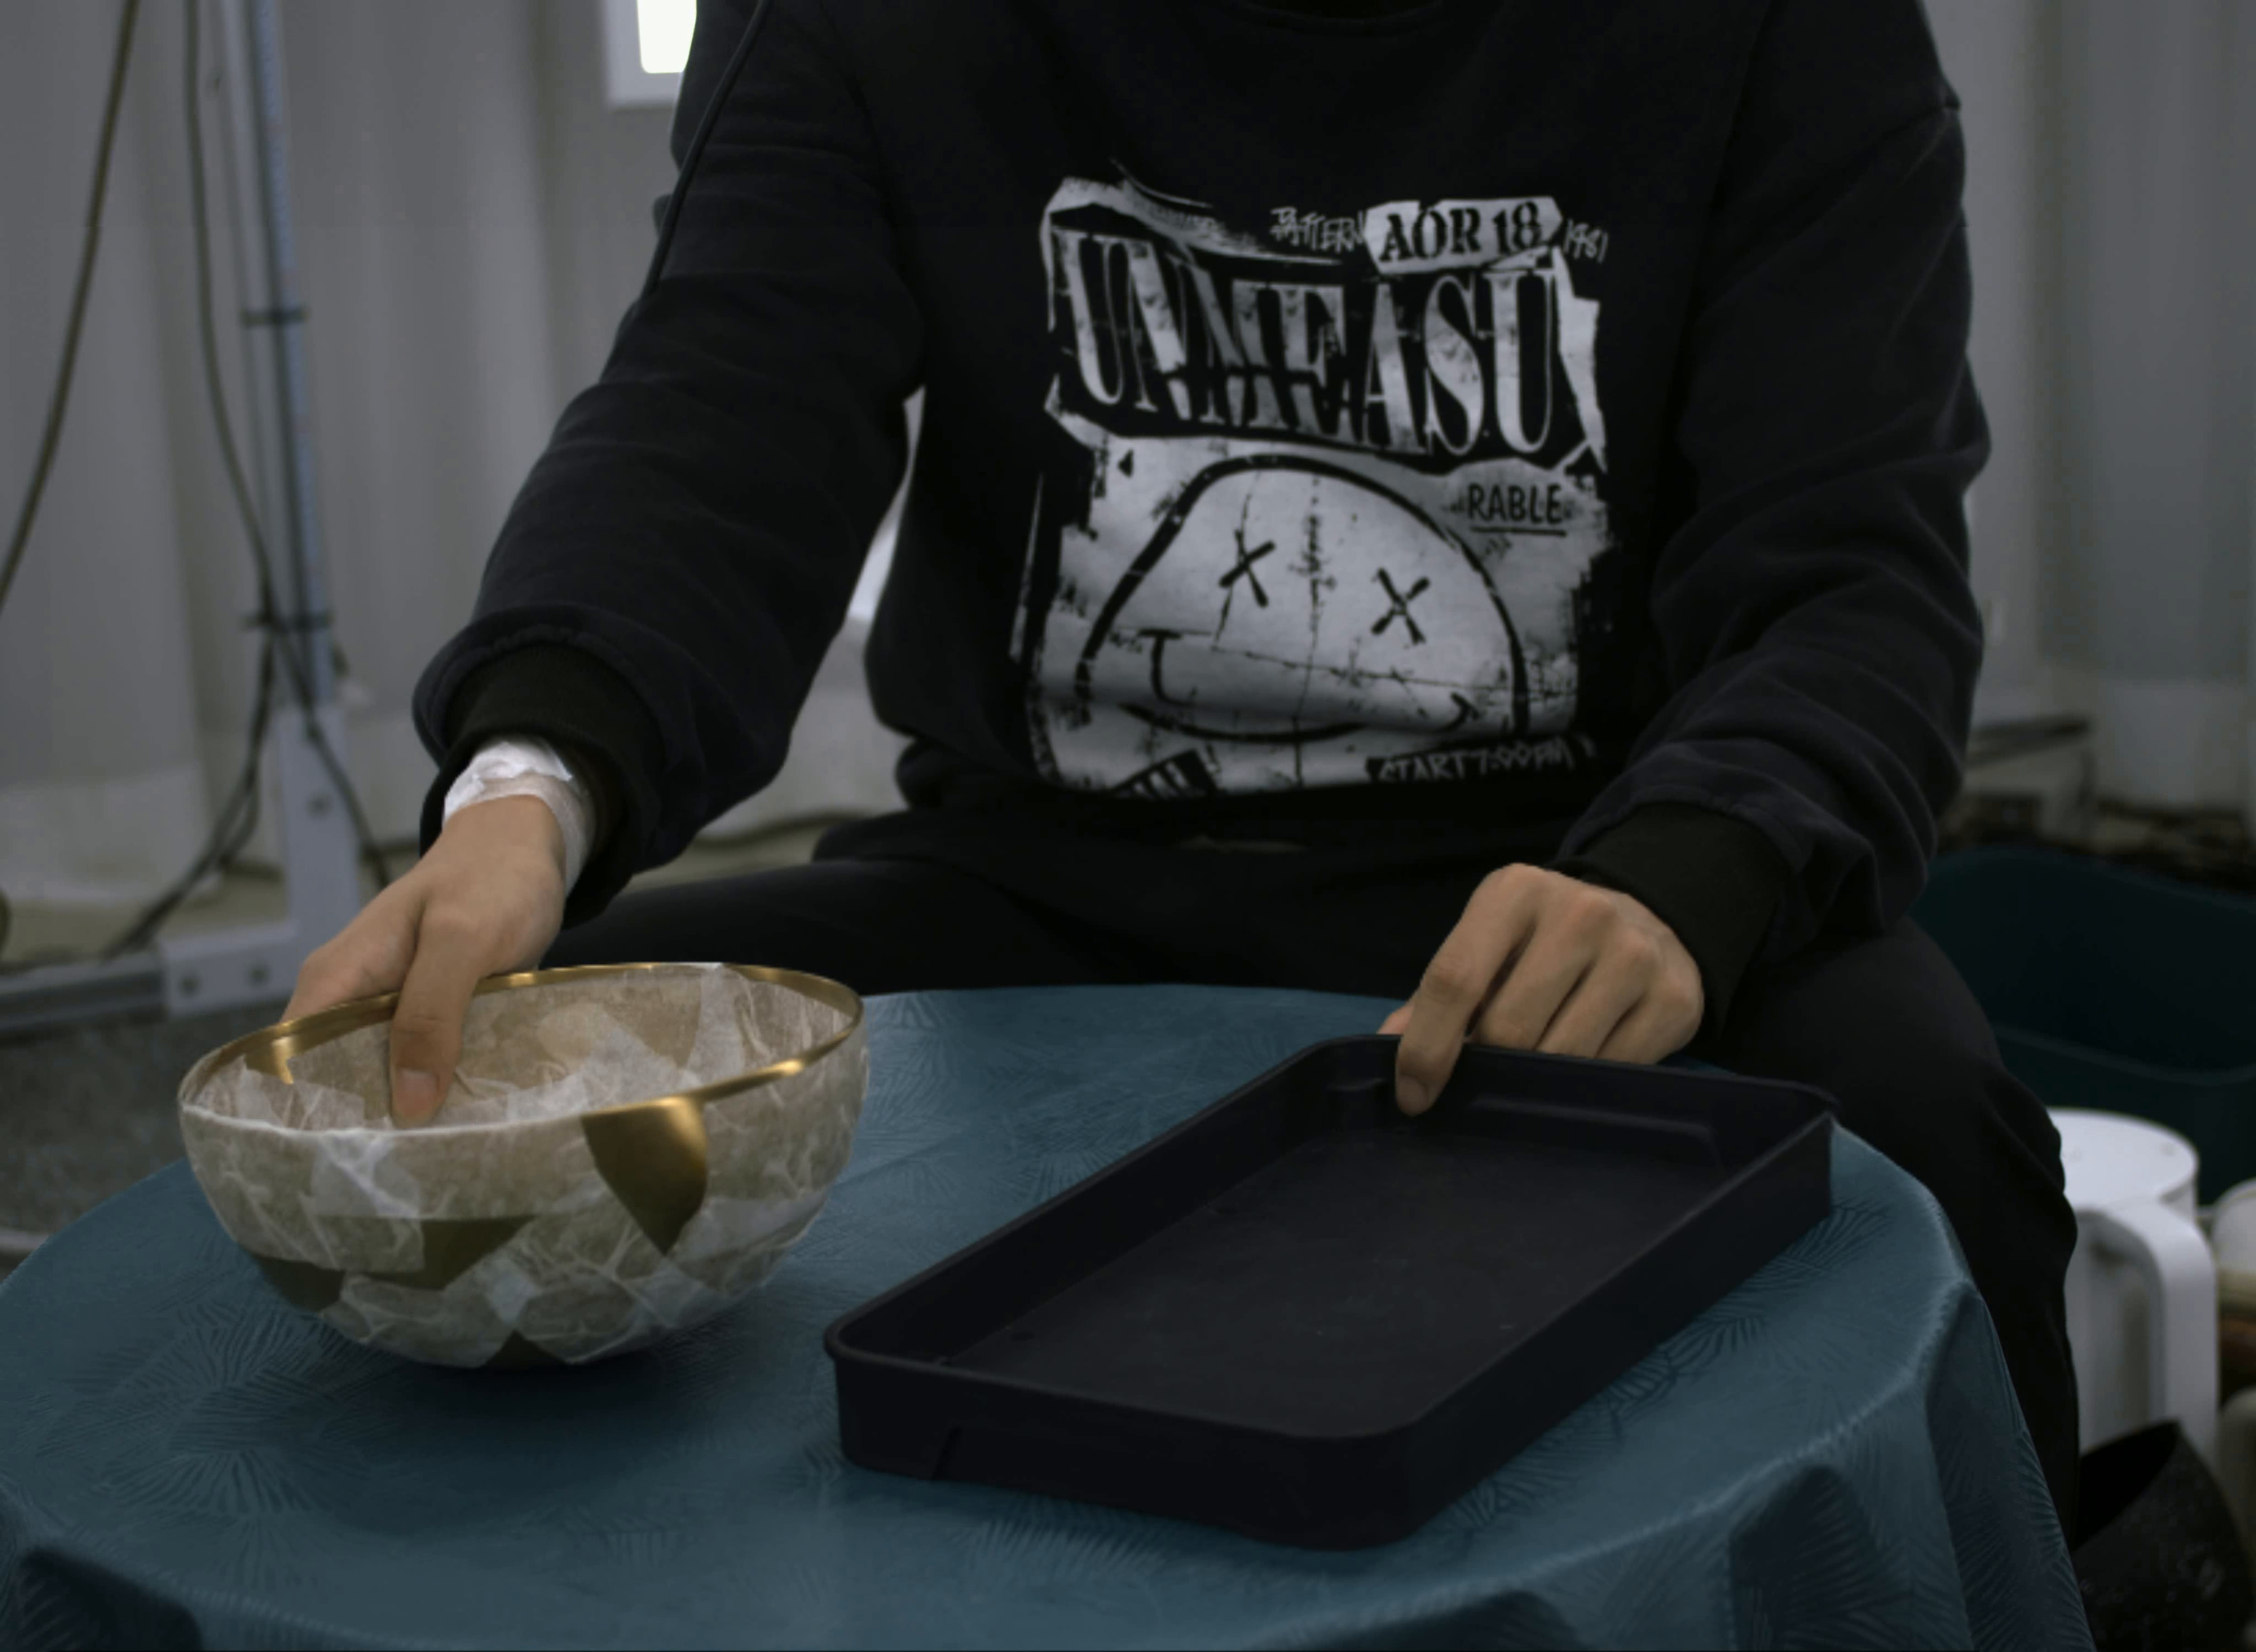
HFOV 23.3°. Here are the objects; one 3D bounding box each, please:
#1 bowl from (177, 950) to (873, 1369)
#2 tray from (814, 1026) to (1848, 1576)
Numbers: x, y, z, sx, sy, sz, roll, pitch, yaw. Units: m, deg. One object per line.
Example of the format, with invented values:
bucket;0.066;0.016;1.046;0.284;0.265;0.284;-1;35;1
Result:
bowl;-0.167;0.104;1.598;0.214;0.094;0.216;-6;11;1
tray;0.066;0.130;1.584;0.185;0.037;0.318;7;19;31
